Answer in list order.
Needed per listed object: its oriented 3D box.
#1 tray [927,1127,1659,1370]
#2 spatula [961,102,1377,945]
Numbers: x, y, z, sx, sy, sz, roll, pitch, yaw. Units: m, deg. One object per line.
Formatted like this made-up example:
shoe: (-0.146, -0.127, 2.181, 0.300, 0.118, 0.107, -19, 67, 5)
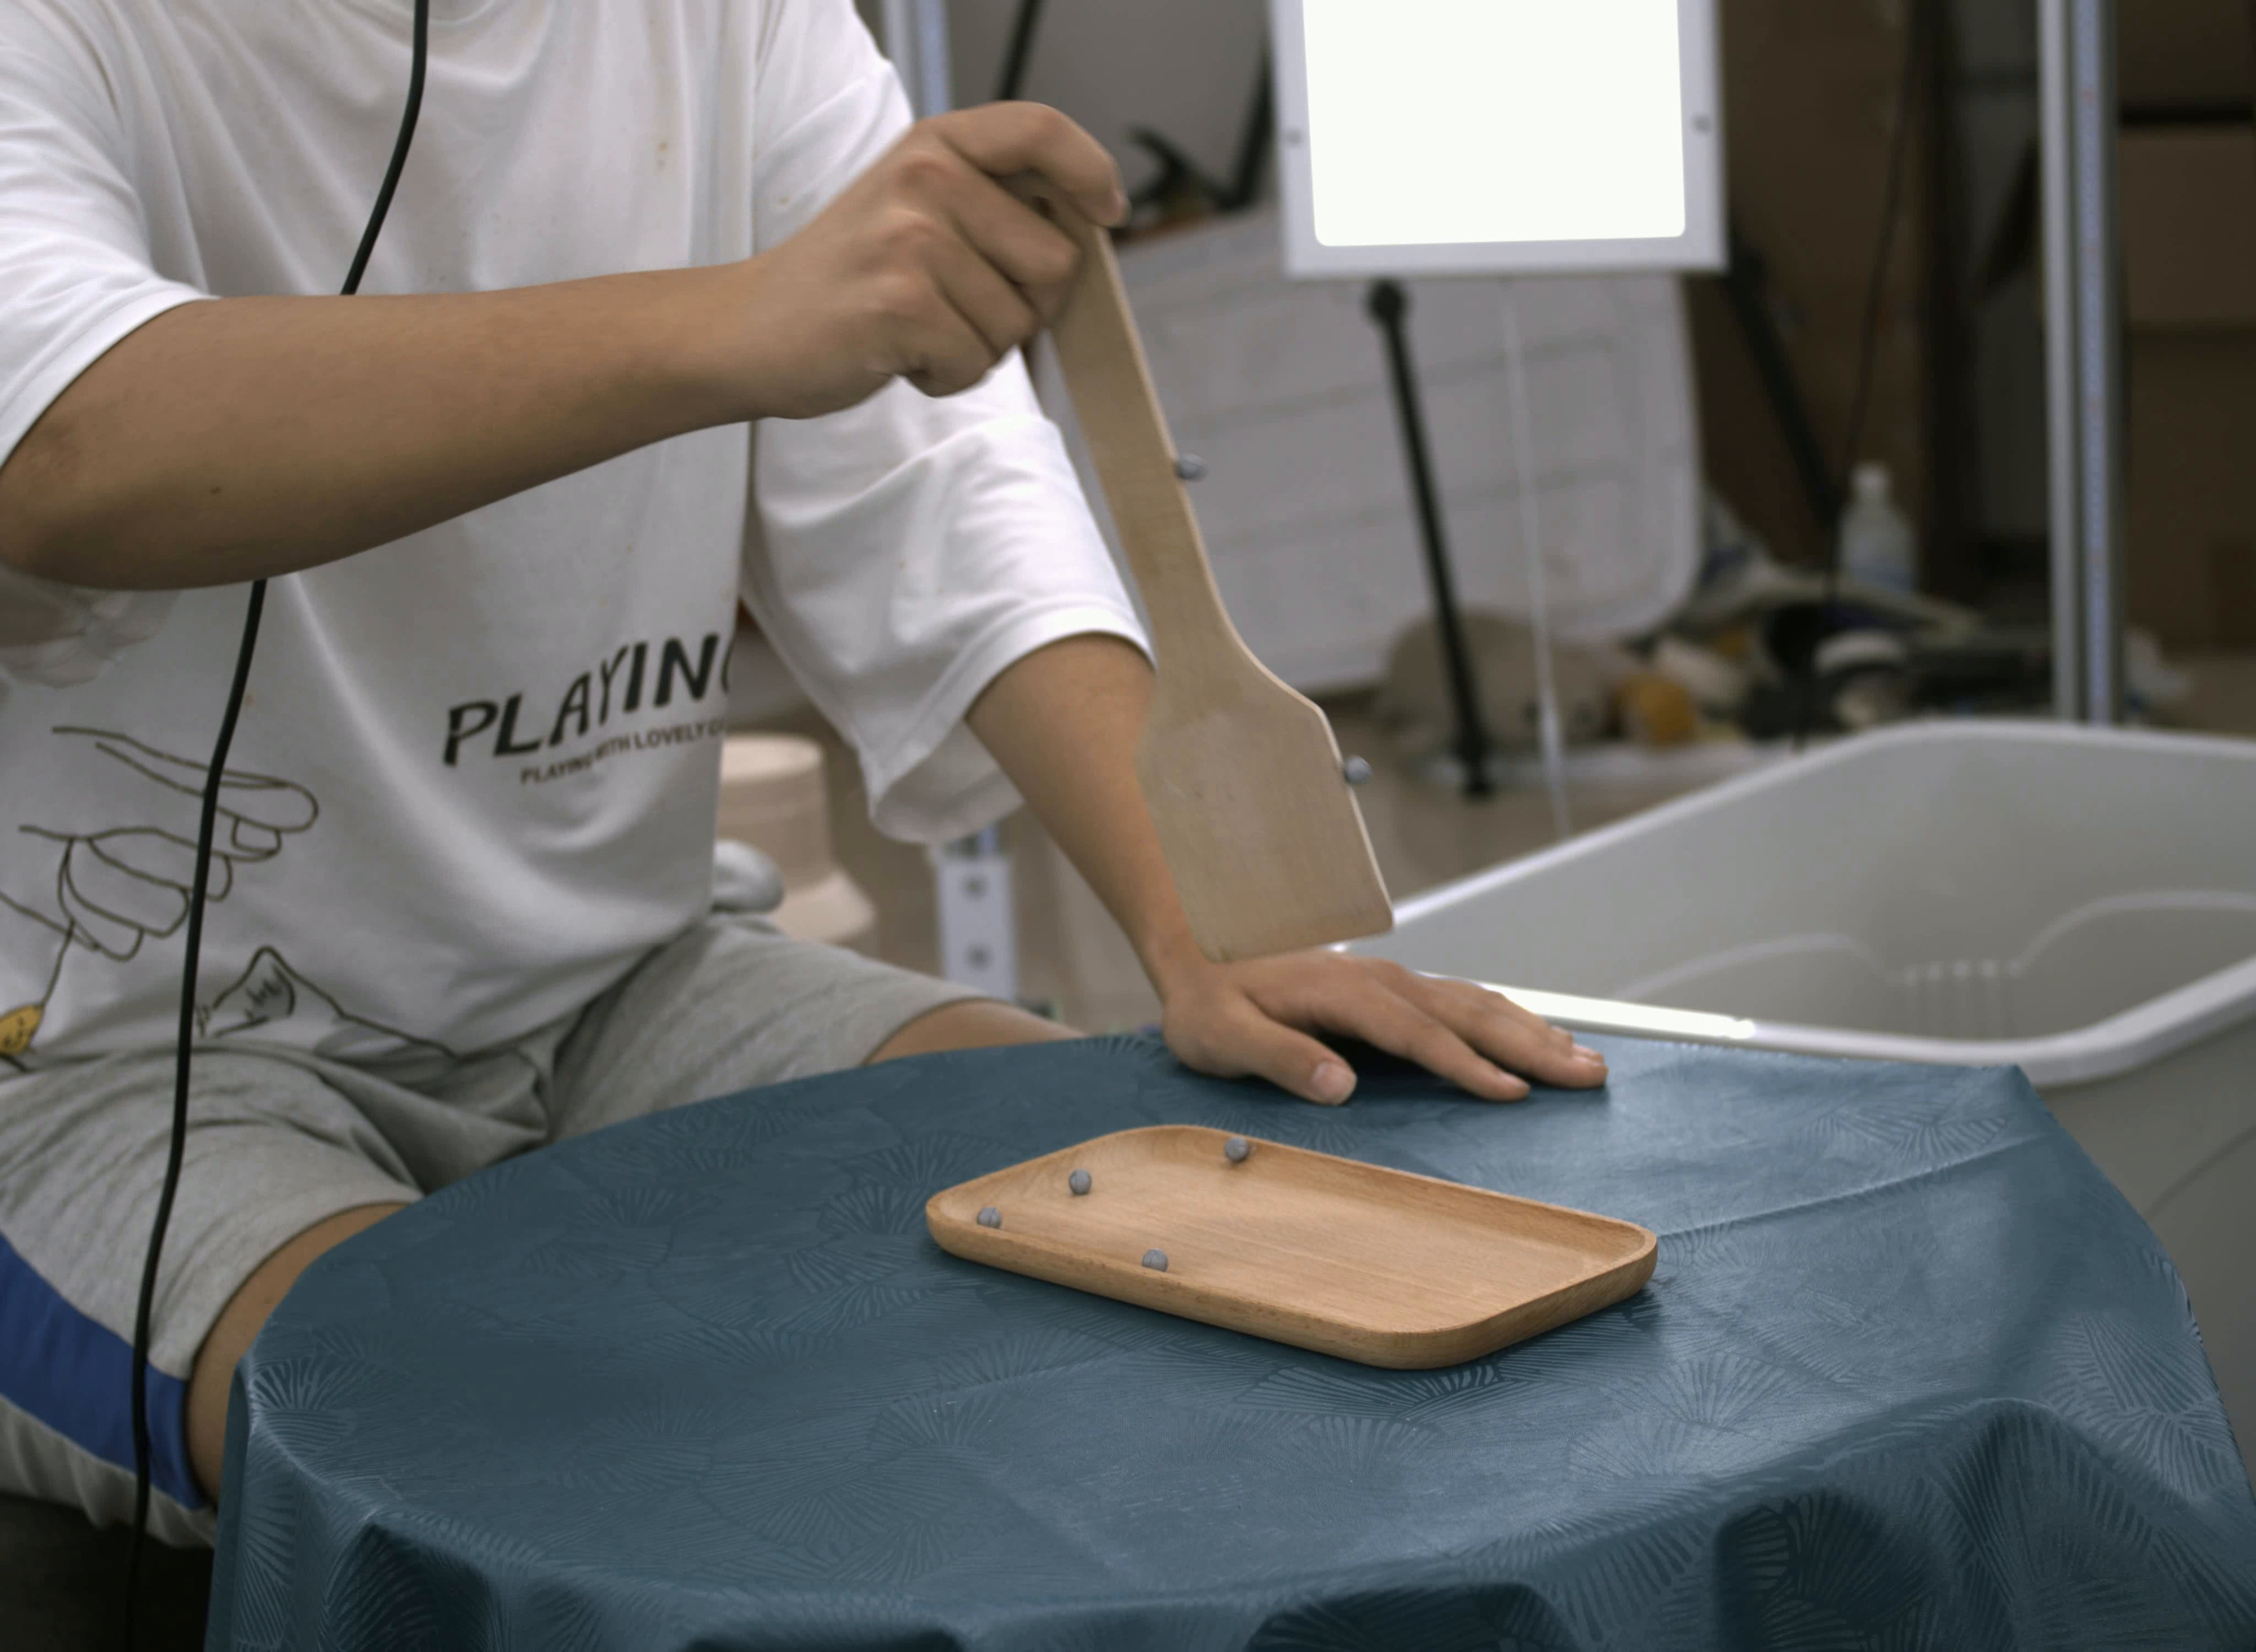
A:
tray: (0.052, 0.136, 1.804, 0.127, 0.023, 0.256, -19, 19, -37)
spatula: (0.006, -0.095, 1.760, 0.073, 0.293, 0.010, -10, 21, 26)
